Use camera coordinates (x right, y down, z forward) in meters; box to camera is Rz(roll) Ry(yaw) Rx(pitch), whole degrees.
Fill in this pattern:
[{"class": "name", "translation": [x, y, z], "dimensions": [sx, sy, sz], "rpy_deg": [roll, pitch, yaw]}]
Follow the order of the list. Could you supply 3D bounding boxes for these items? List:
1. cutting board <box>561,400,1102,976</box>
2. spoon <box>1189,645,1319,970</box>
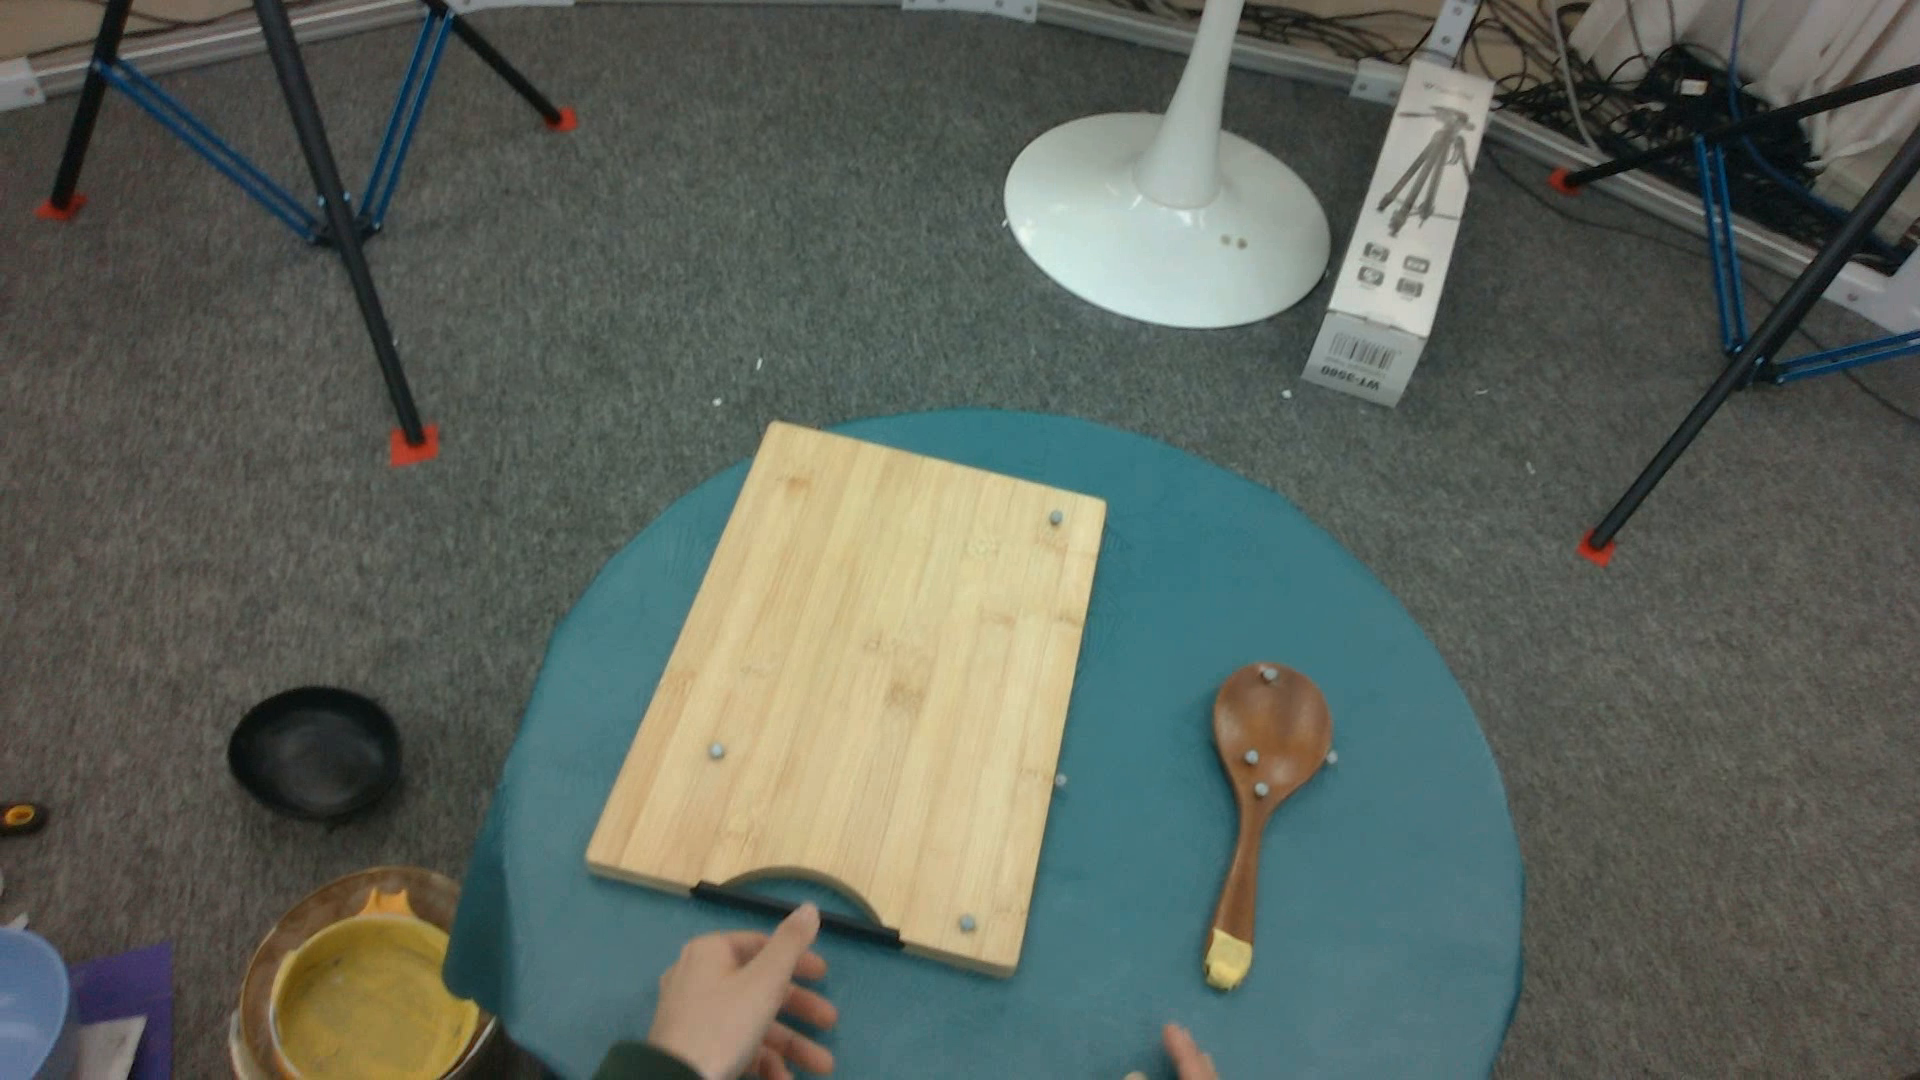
[{"class": "cutting board", "translation": [-0.059, 0.070, 0.842], "dimensions": [0.251, 0.023, 0.350], "rpy_deg": [13, 52, 2]}, {"class": "spoon", "translation": [0.167, 0.152, 0.815], "dimensions": [0.075, 0.017, 0.217], "rpy_deg": [19, 52, 3]}]
